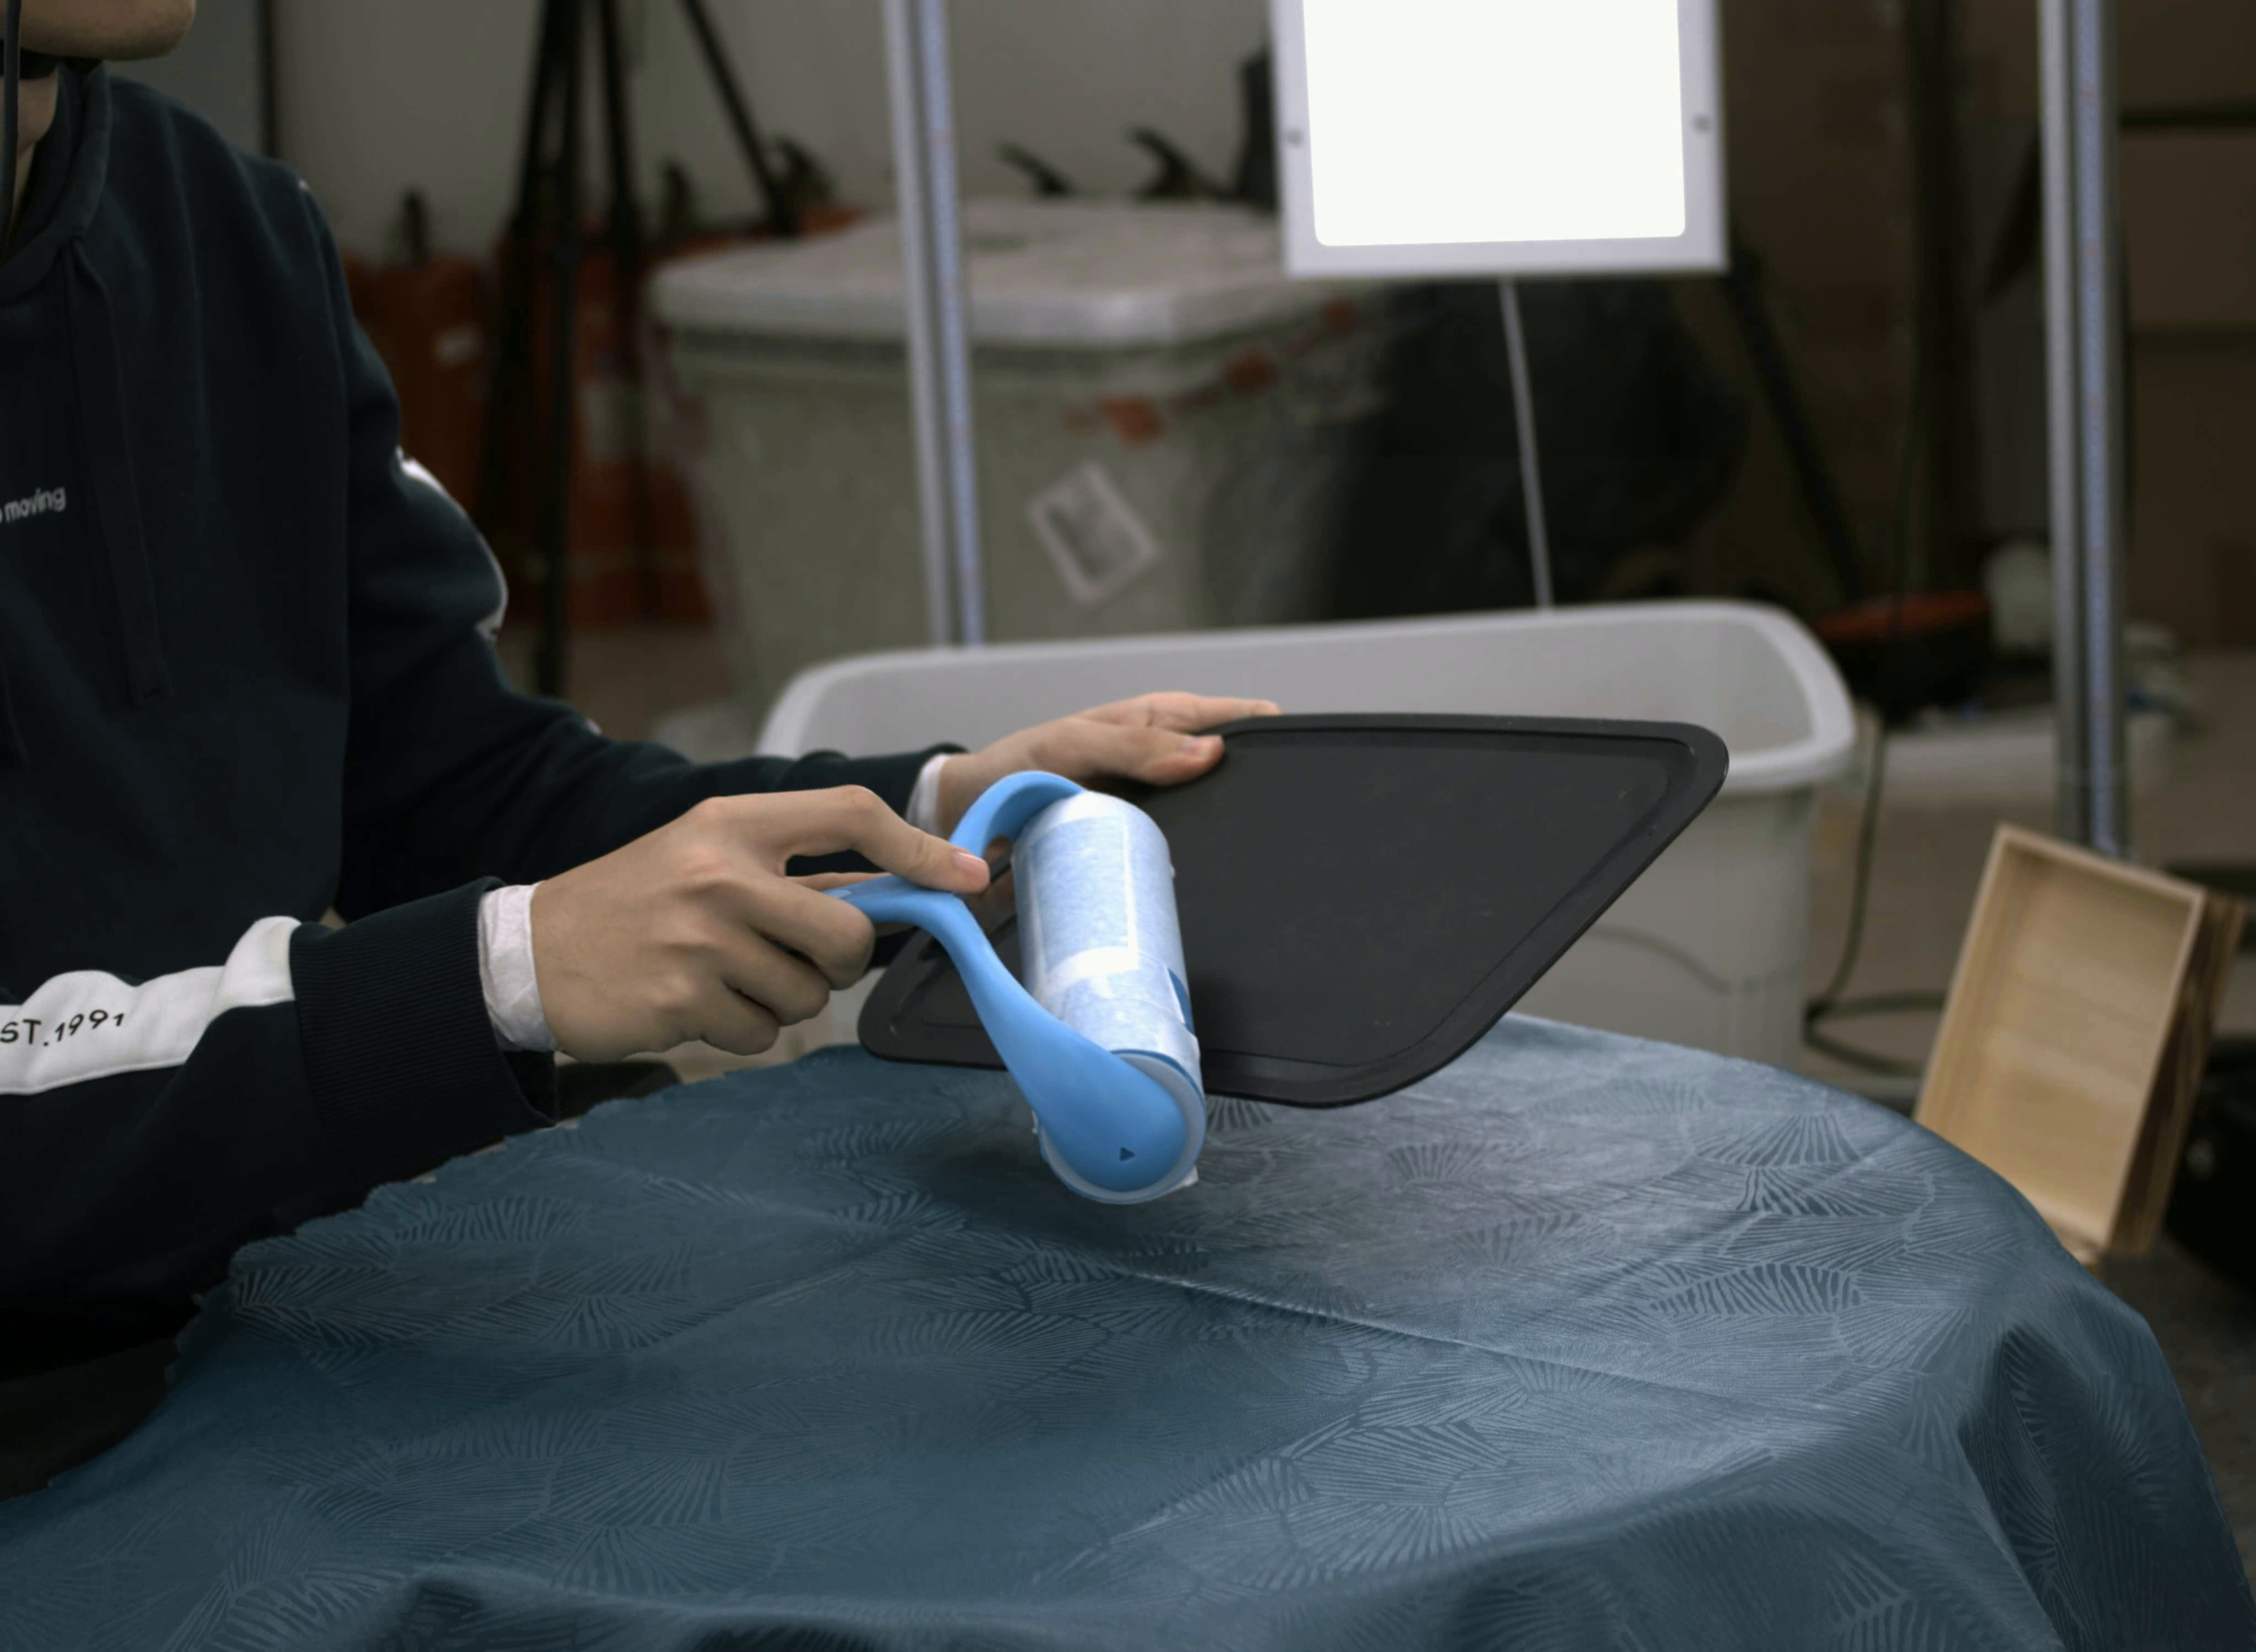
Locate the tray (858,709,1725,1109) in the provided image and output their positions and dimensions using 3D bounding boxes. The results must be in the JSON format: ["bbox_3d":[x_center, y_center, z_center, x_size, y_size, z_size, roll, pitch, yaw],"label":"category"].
[{"bbox_3d":[0.044,0.023,1.886,0.207,0.010,0.332,-44,27,-28],"label":"tray"}]

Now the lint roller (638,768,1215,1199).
[{"bbox_3d":[-0.065,0.046,1.767,0.179,0.068,0.229,3,26,-7],"label":"lint roller"}]
